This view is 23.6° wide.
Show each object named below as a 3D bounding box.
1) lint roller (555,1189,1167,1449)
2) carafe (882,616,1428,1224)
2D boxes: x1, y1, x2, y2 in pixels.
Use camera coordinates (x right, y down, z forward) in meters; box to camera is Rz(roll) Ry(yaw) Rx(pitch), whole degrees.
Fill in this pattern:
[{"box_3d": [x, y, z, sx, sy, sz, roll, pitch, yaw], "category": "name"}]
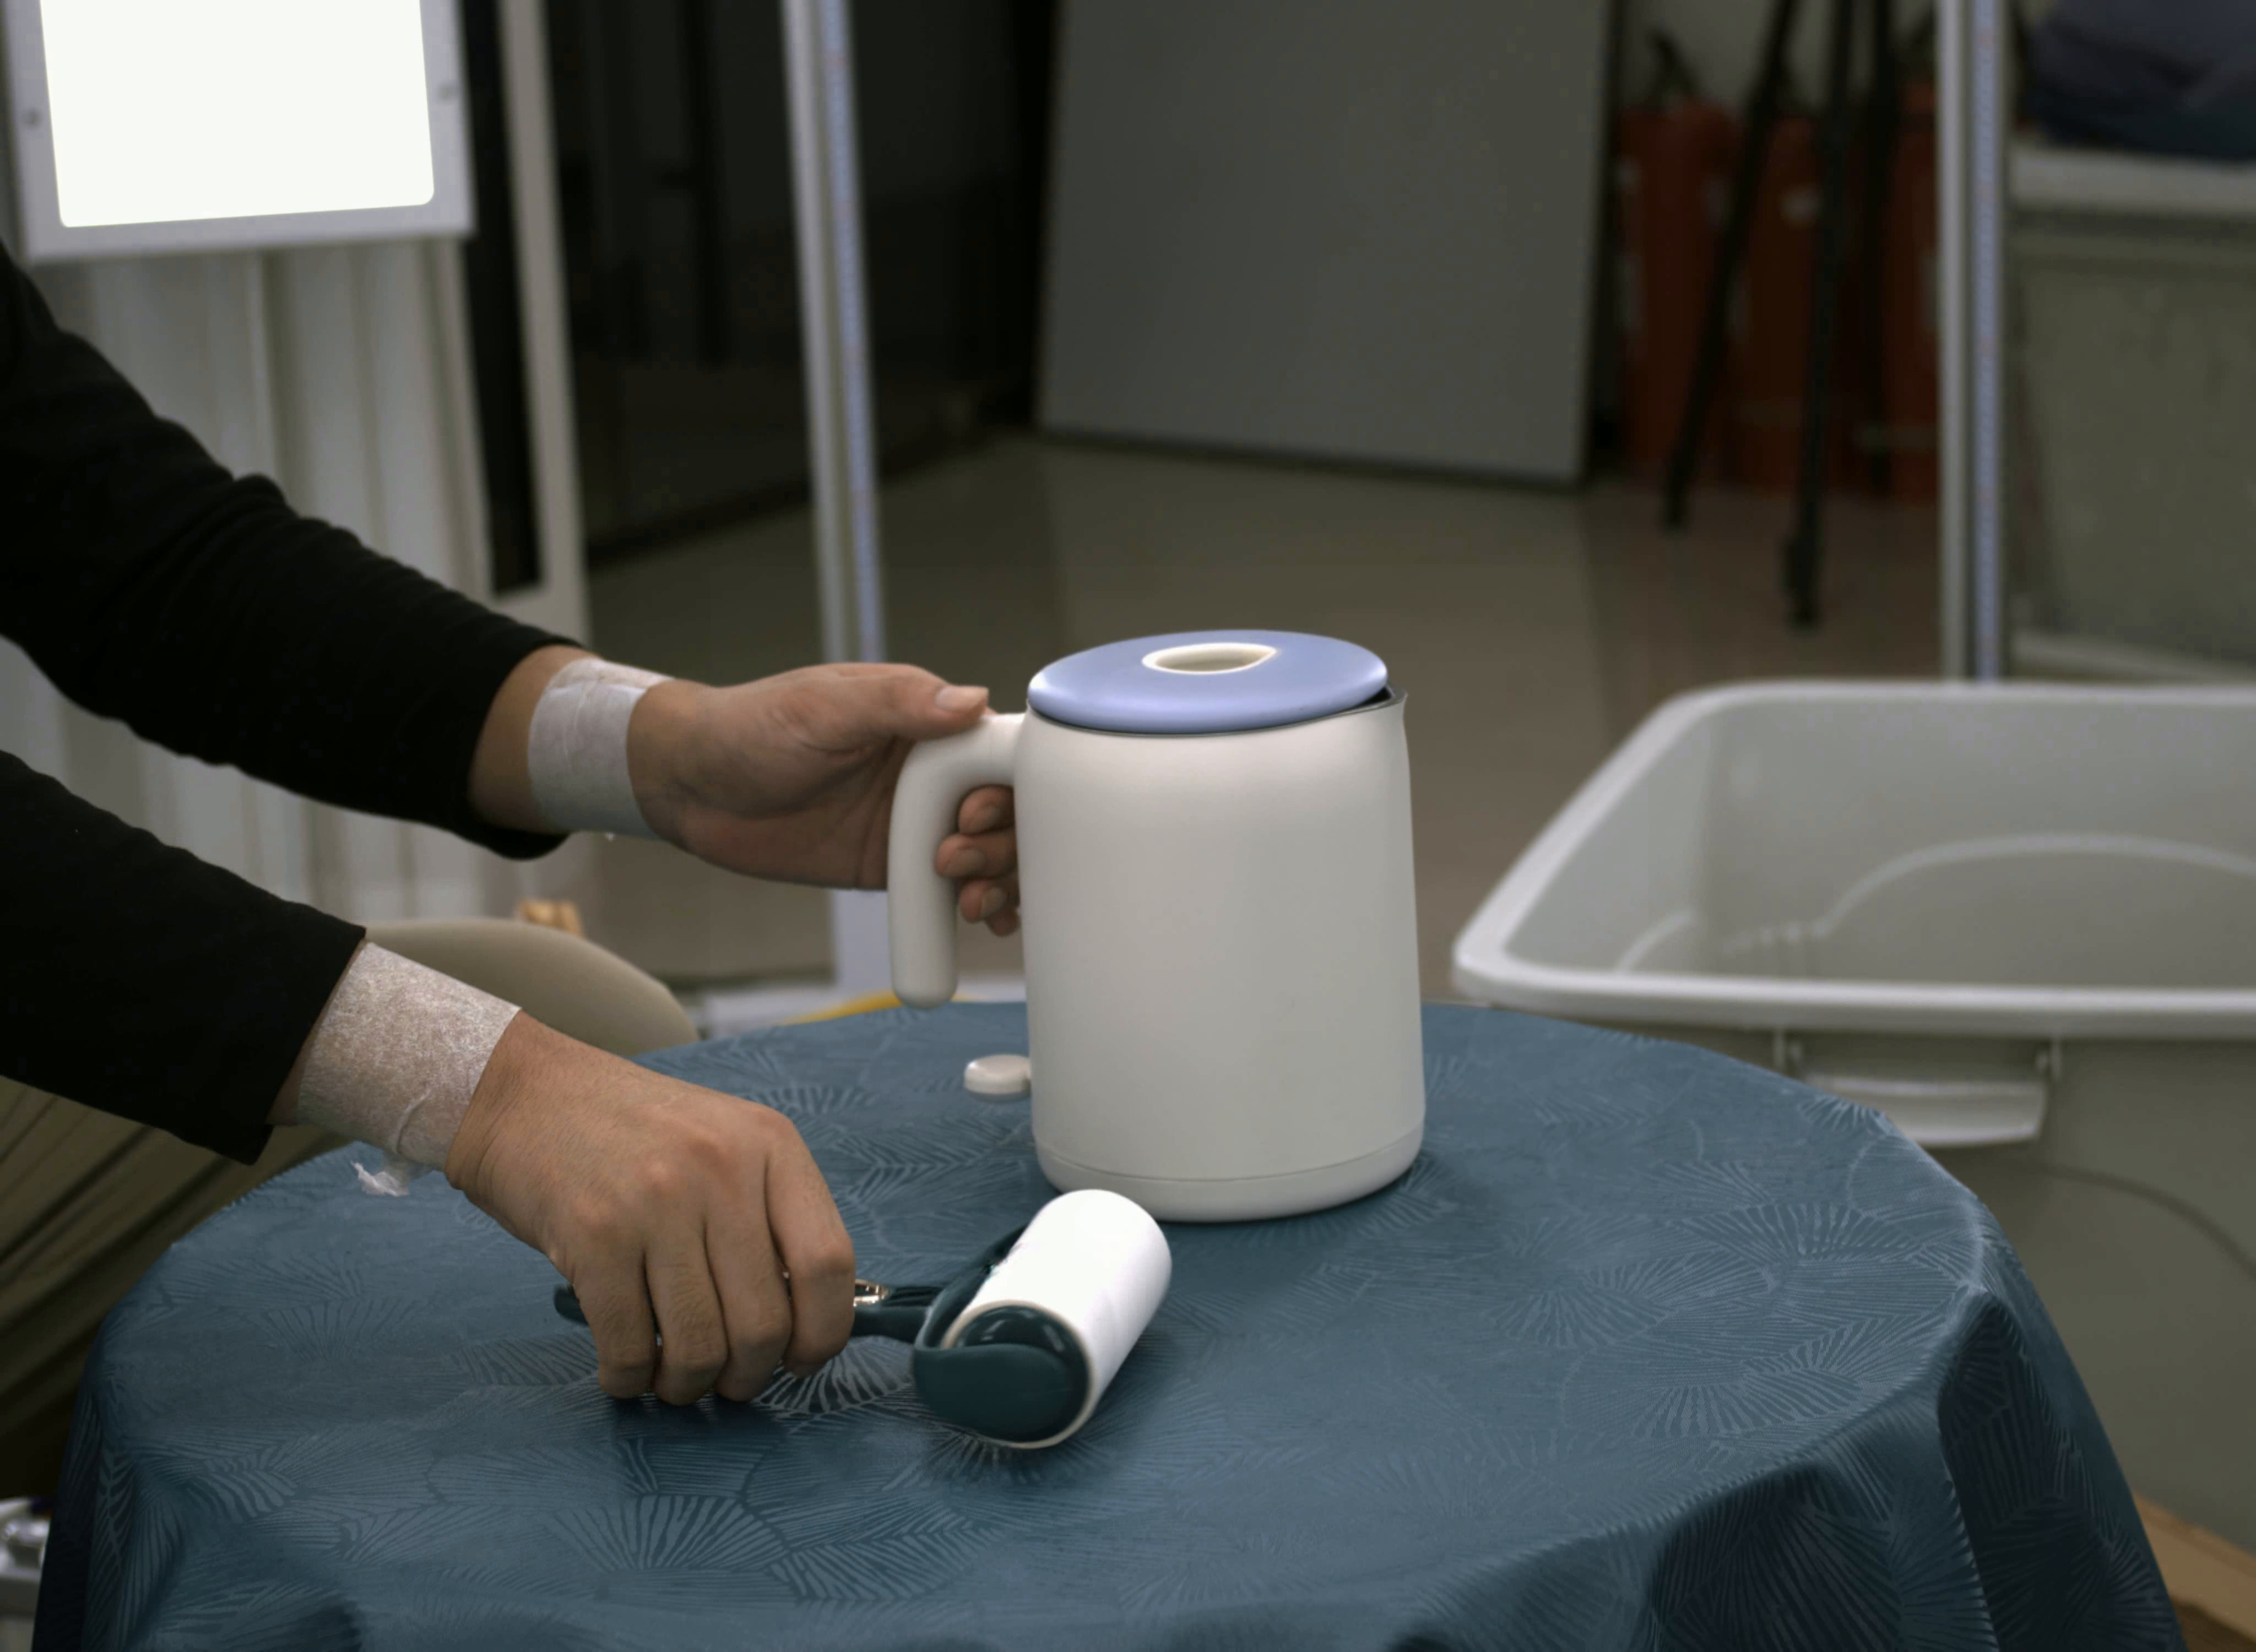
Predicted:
[{"box_3d": [-0.086, 0.140, 1.600, 0.179, 0.049, 0.133, 3, 15, 16], "category": "lint roller"}, {"box_3d": [0.007, 0.030, 1.775, 0.191, 0.184, 0.131, -1, 13, 22], "category": "carafe"}]
